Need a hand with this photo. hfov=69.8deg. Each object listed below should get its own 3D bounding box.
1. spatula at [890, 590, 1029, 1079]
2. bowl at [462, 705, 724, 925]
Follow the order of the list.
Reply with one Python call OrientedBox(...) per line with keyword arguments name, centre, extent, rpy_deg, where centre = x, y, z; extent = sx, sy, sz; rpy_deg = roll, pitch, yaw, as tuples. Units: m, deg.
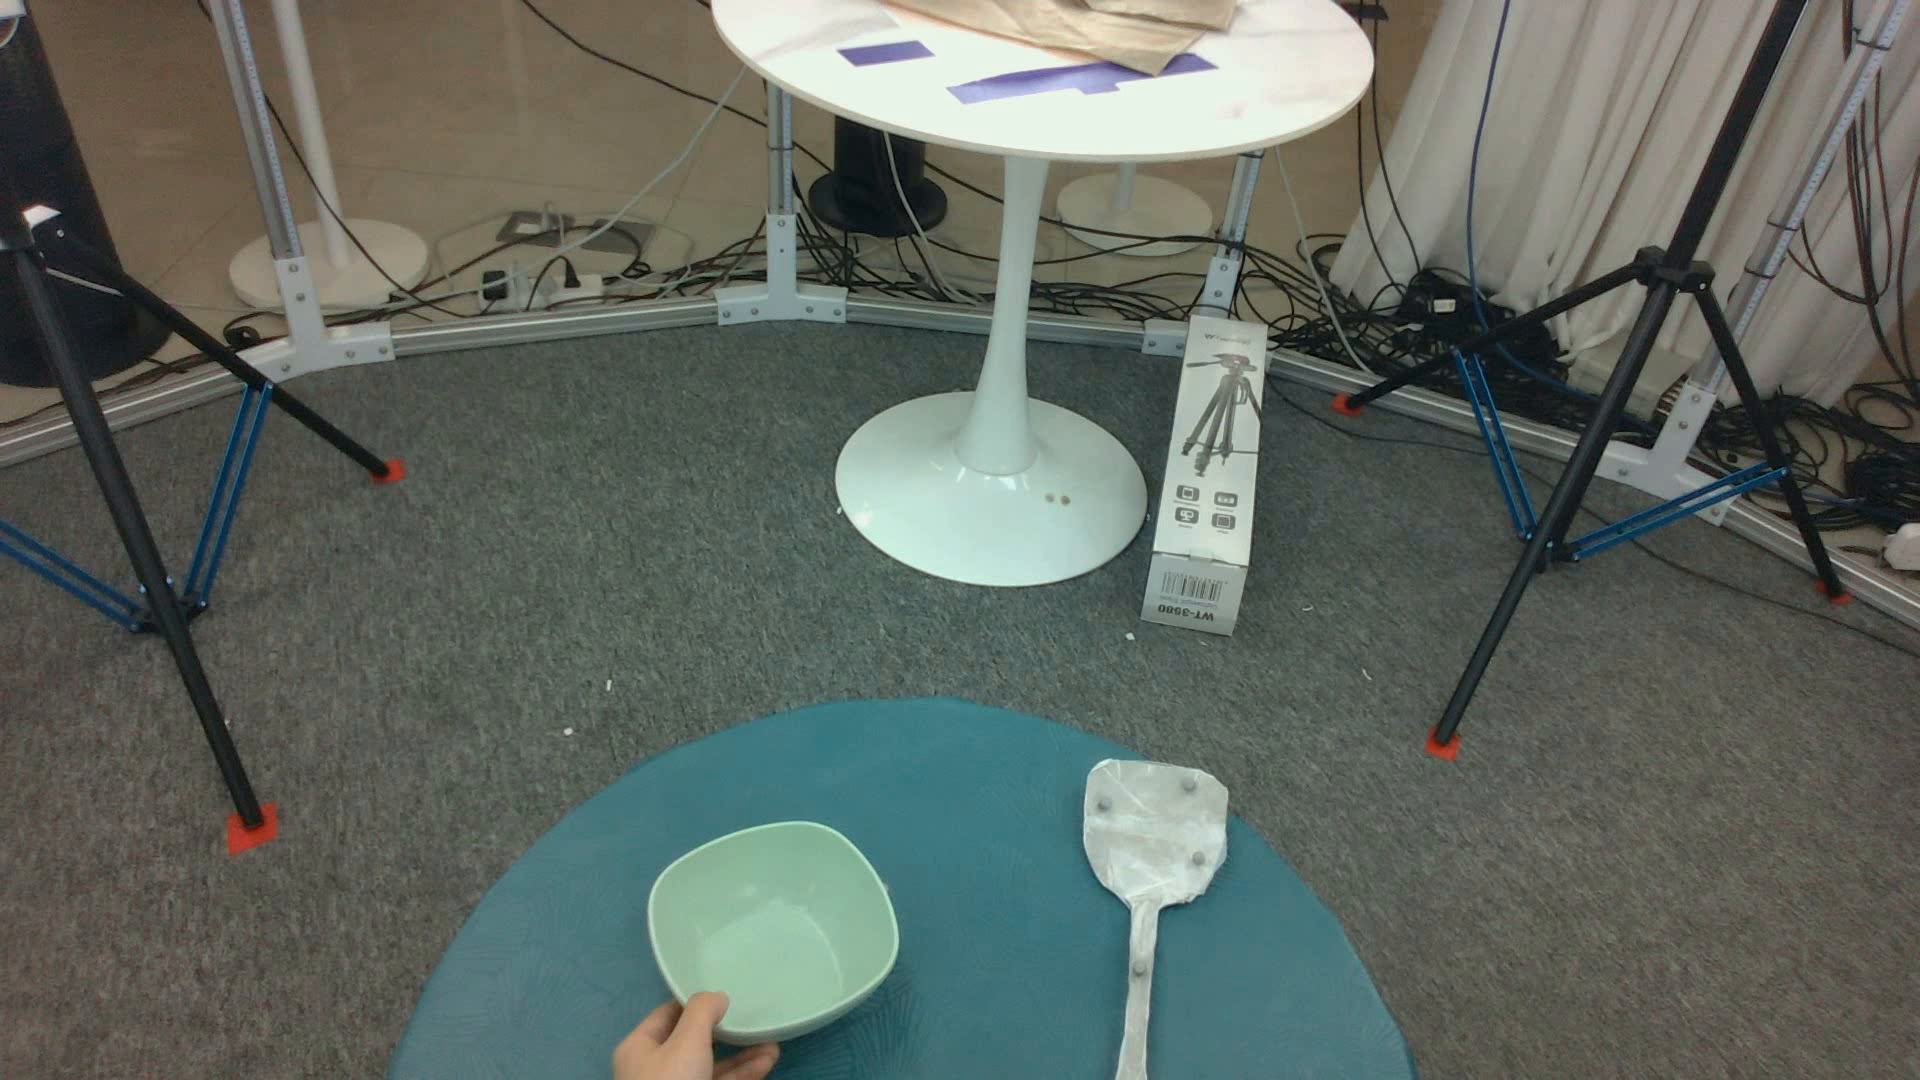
OrientedBox(name="spatula", centre=(-0.002, 0.174, 0.862), extent=(0.099, 0.044, 0.366), rpy_deg=(3, 42, -3))
OrientedBox(name="bowl", centre=(-0.217, 0.172, 0.823), extent=(0.151, 0.058, 0.152), rpy_deg=(5, 40, -4))
